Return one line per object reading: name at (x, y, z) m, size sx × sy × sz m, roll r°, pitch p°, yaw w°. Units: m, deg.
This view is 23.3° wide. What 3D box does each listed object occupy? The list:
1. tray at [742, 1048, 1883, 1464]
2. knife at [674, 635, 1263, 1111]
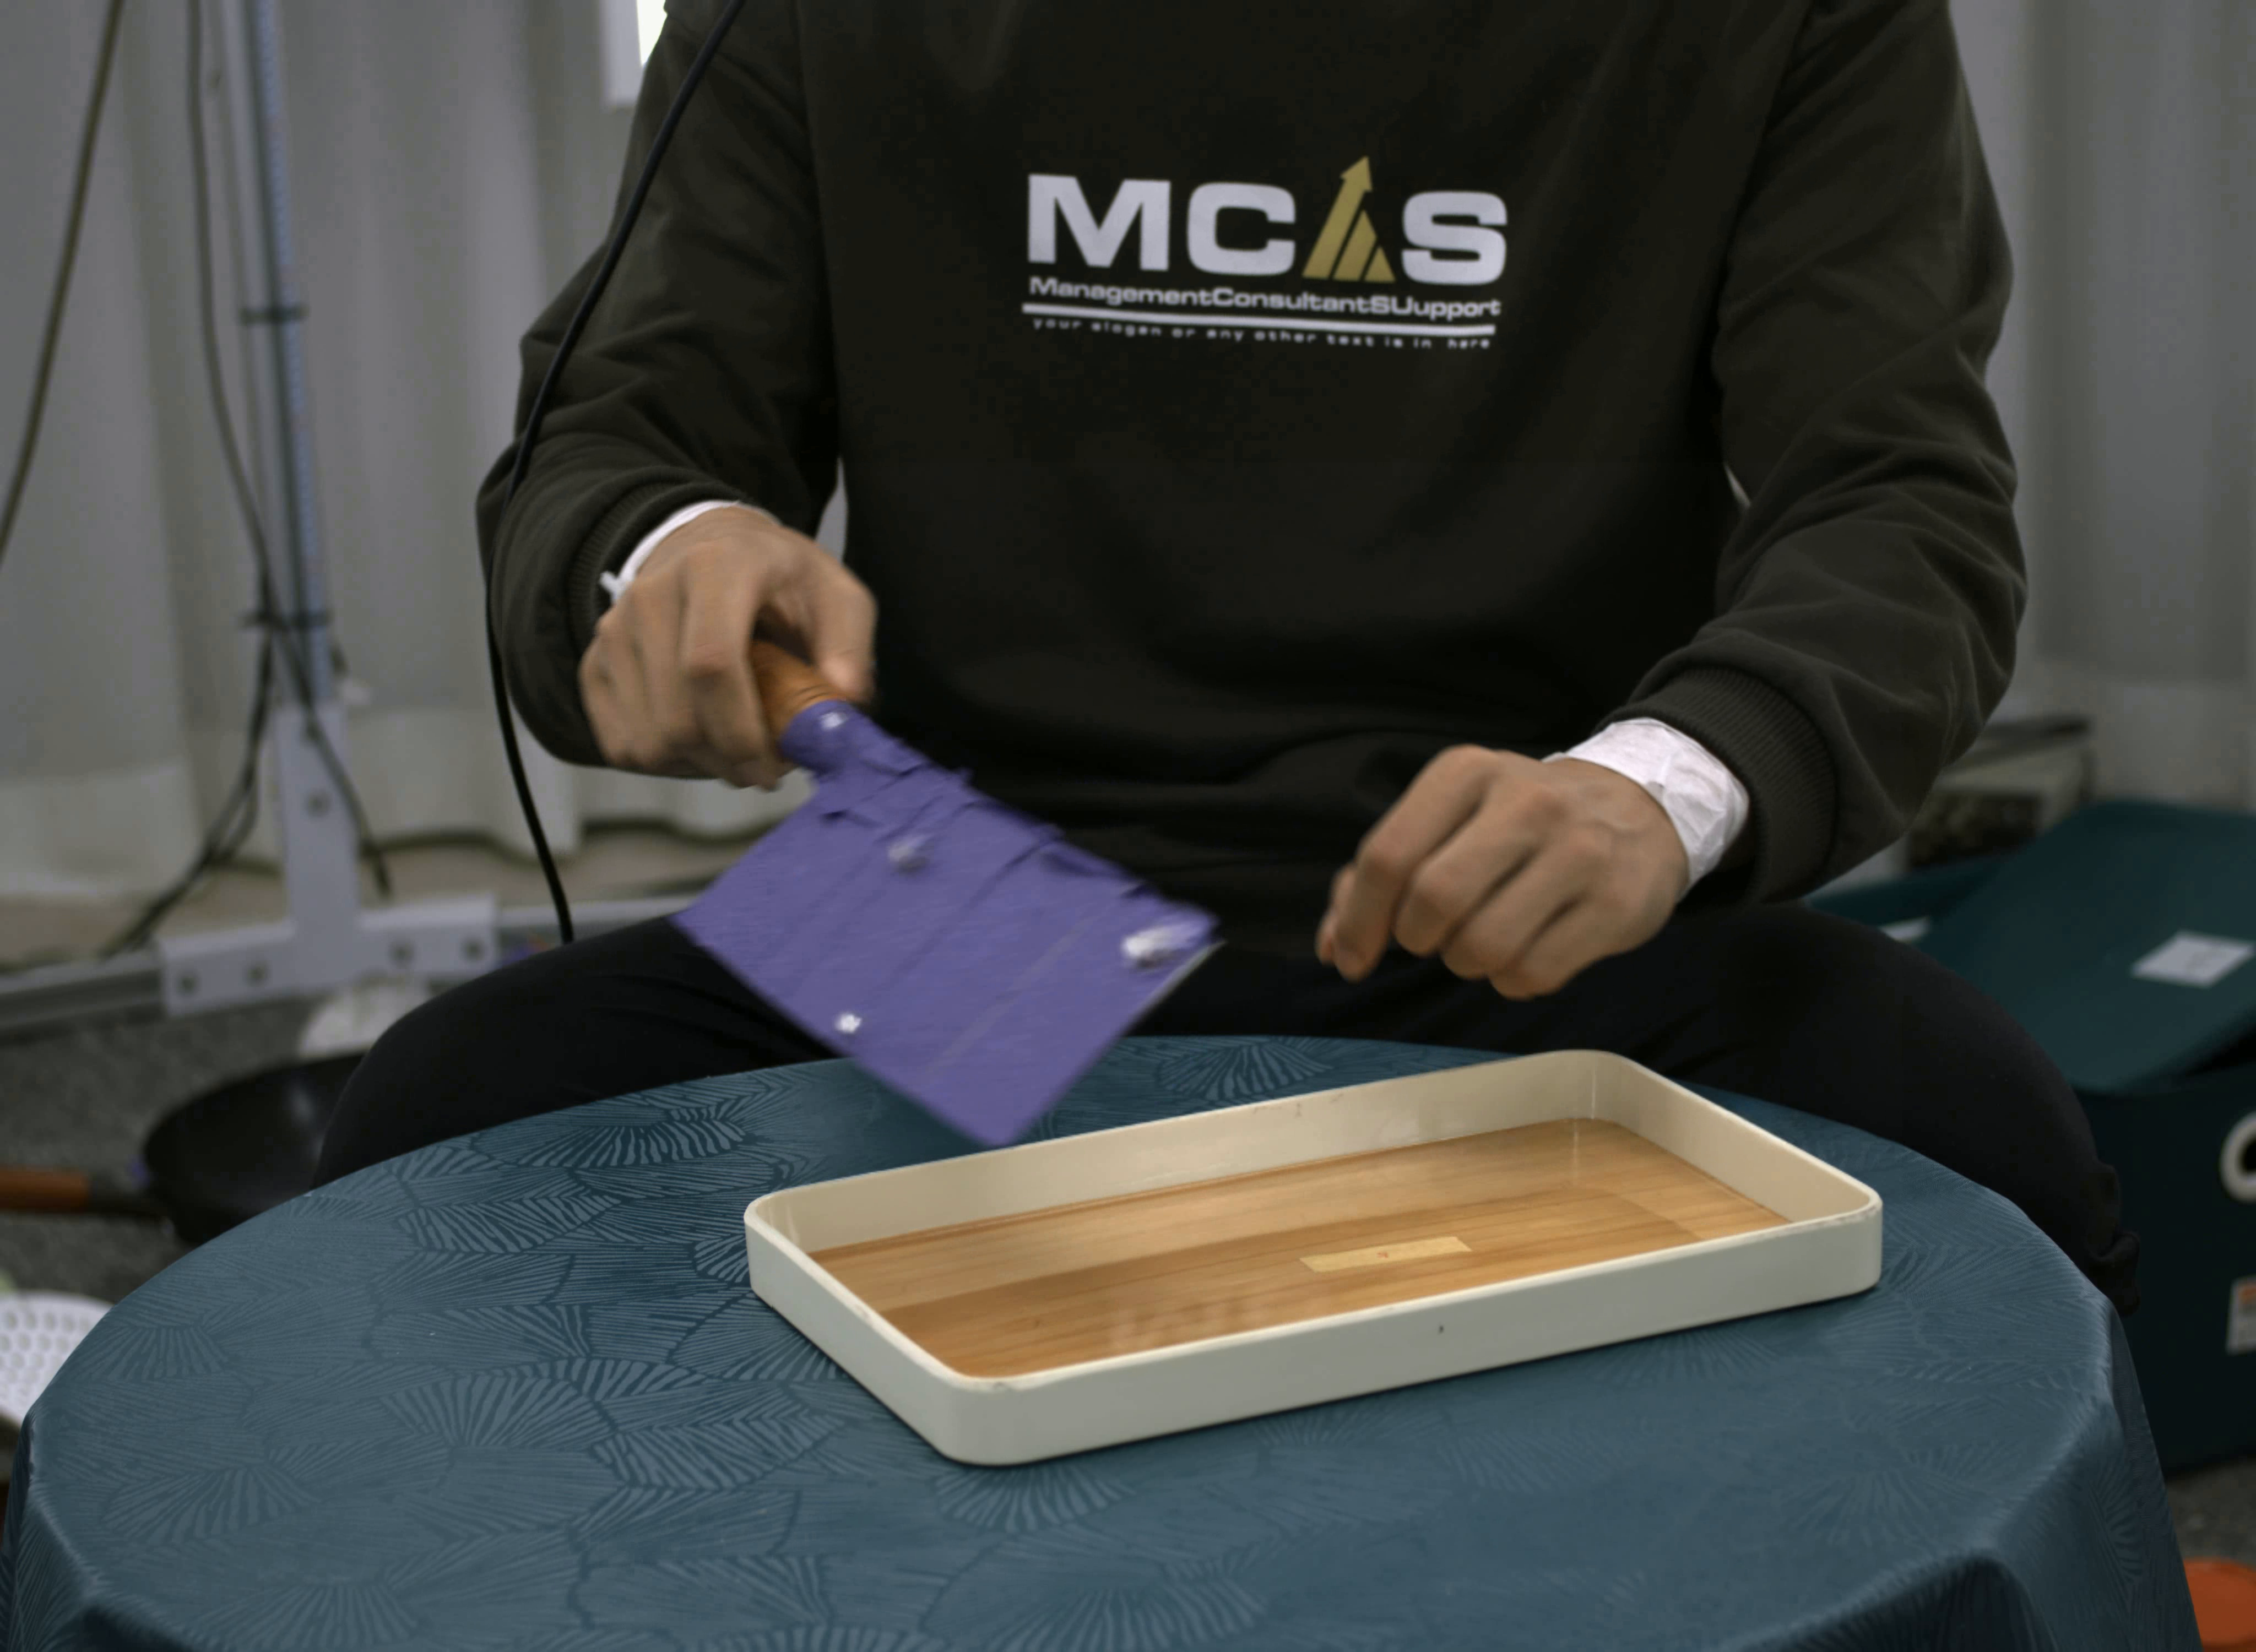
tray at (0.053, 0.124, 1.622) m, size 0.299 × 0.027 × 0.193 m, roll -9°, pitch 16°, yaw -22°
knife at (-0.078, 0.010, 1.667) m, size 0.104 × 0.032 × 0.318 m, roll -43°, pitch 32°, yaw -13°
